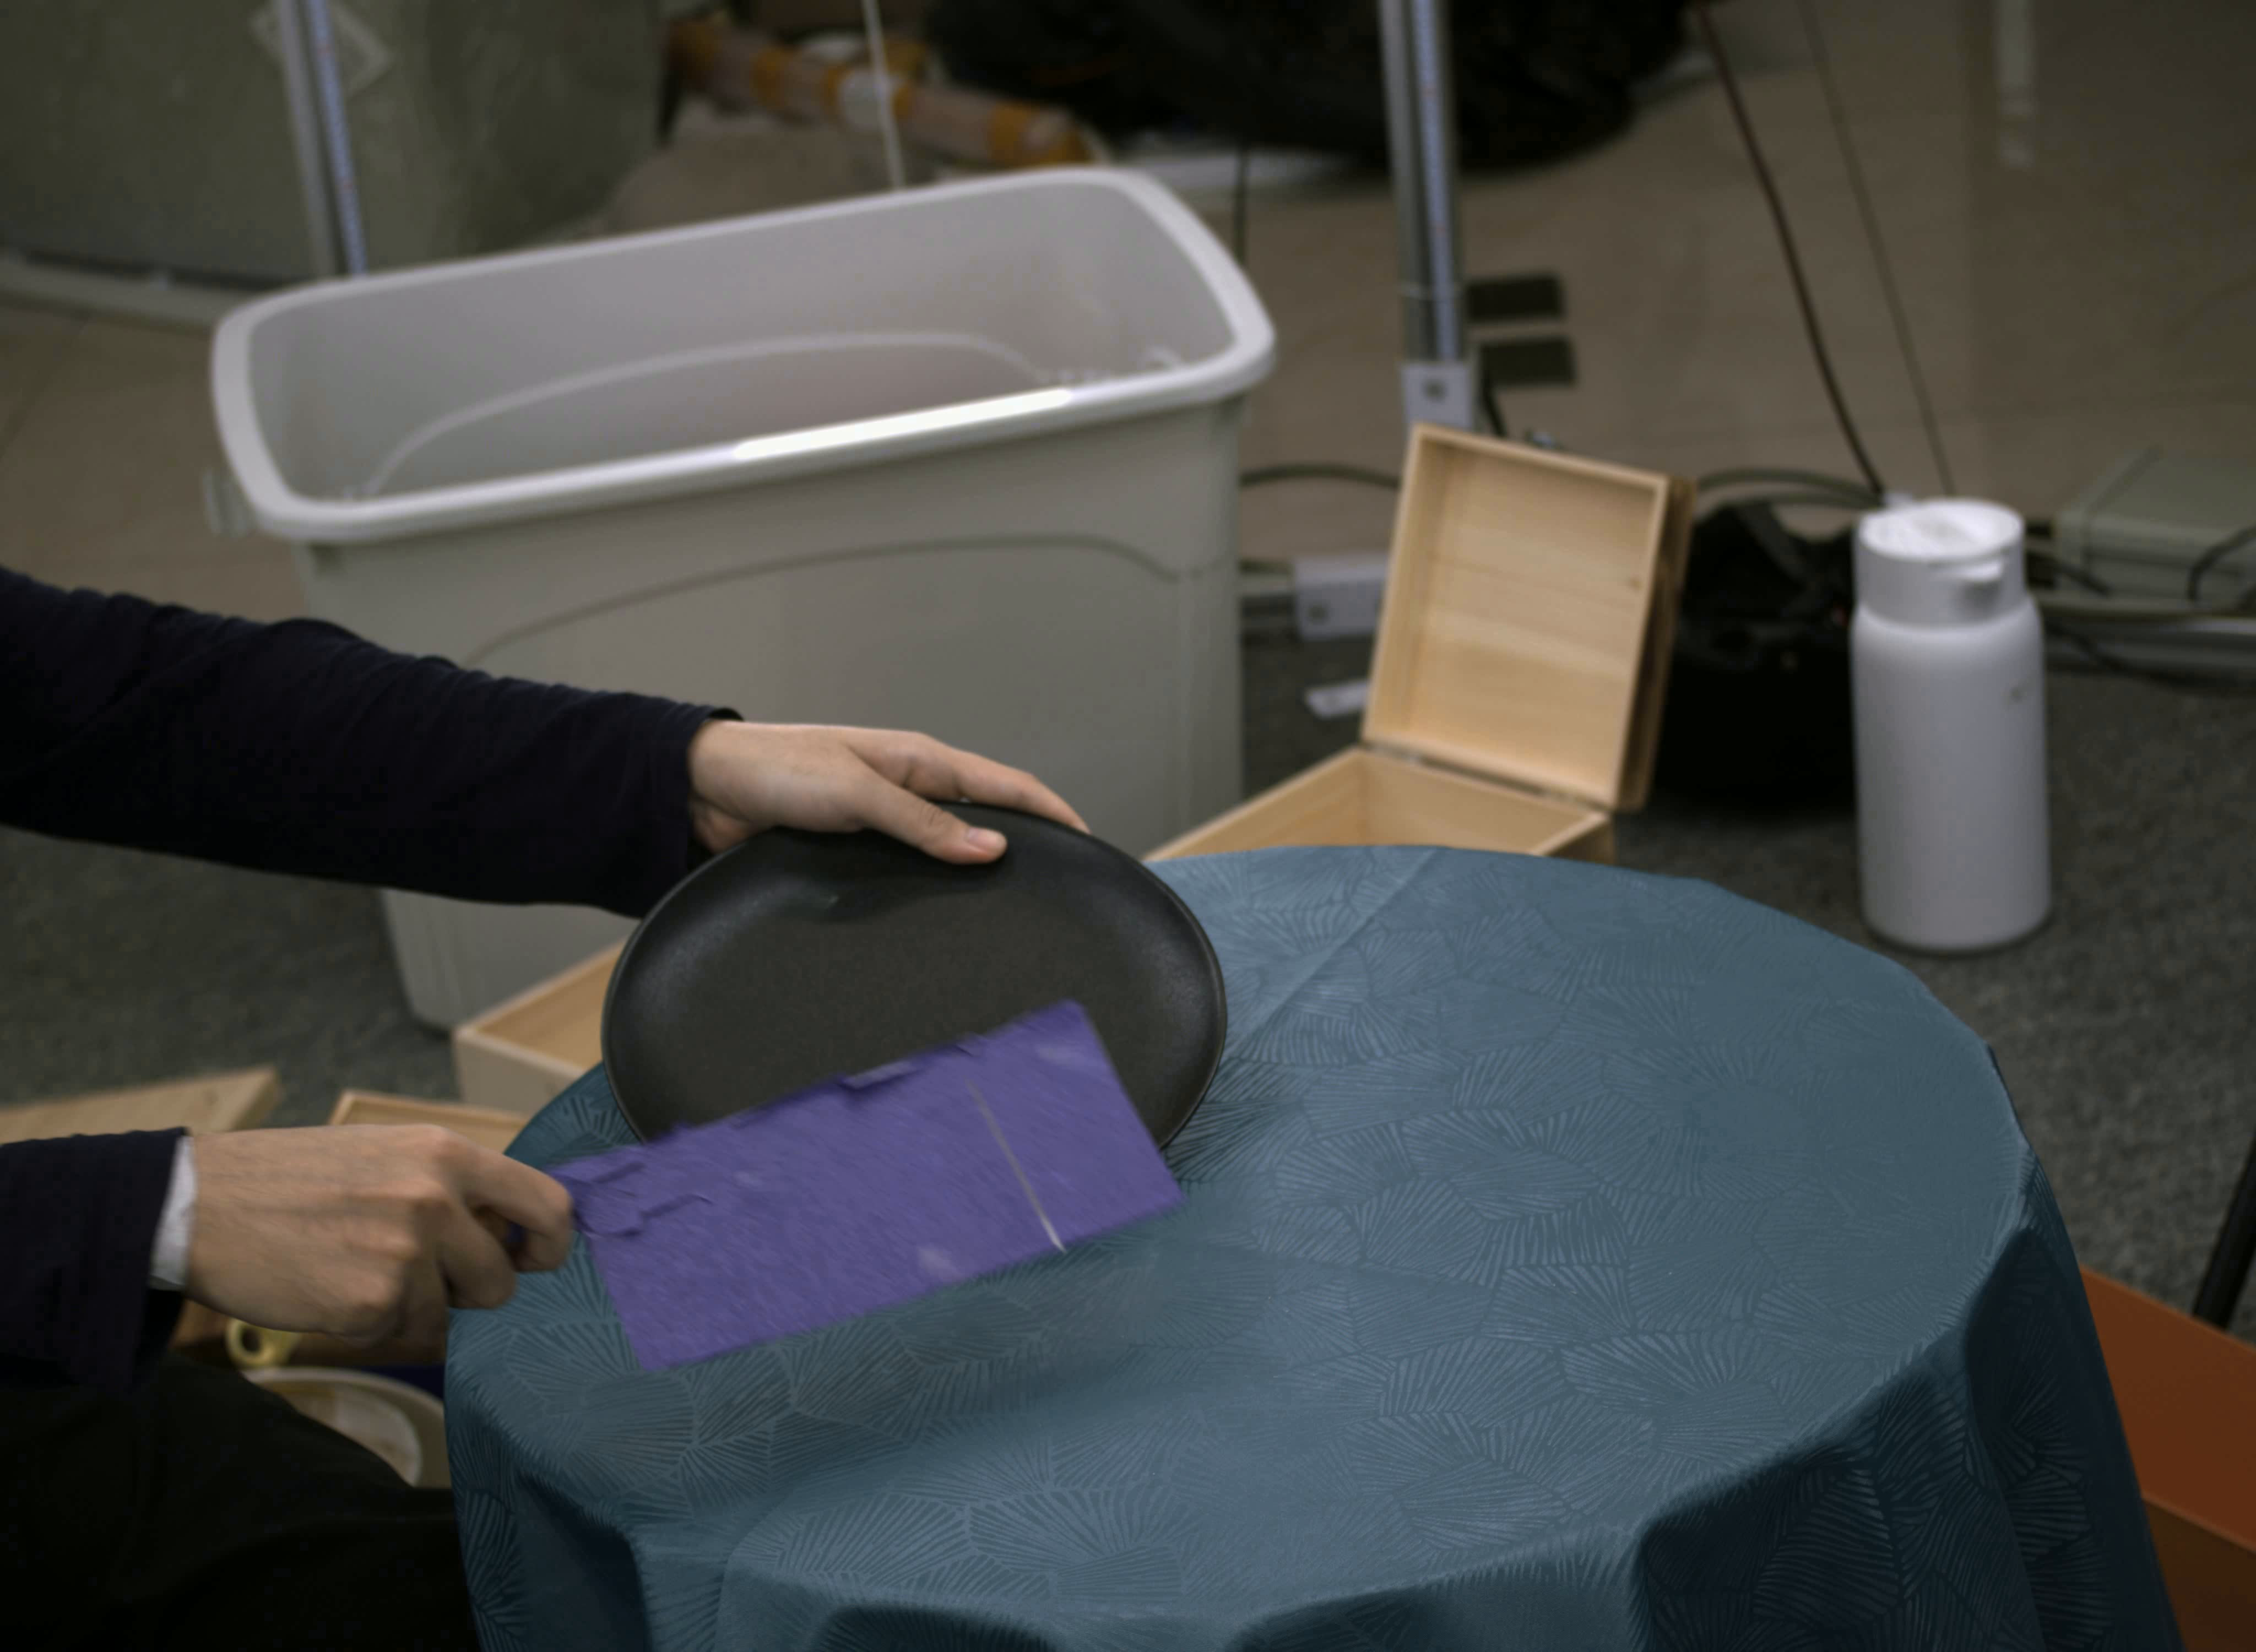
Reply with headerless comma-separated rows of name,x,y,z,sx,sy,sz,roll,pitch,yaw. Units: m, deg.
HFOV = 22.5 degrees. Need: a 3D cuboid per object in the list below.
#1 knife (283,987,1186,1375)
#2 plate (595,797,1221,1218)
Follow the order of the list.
knife,-0.134,0.140,1.989,0.314,0.033,0.102,-18,60,-17
plate,-0.085,0.079,2.203,0.244,0.024,0.240,-1,45,1
